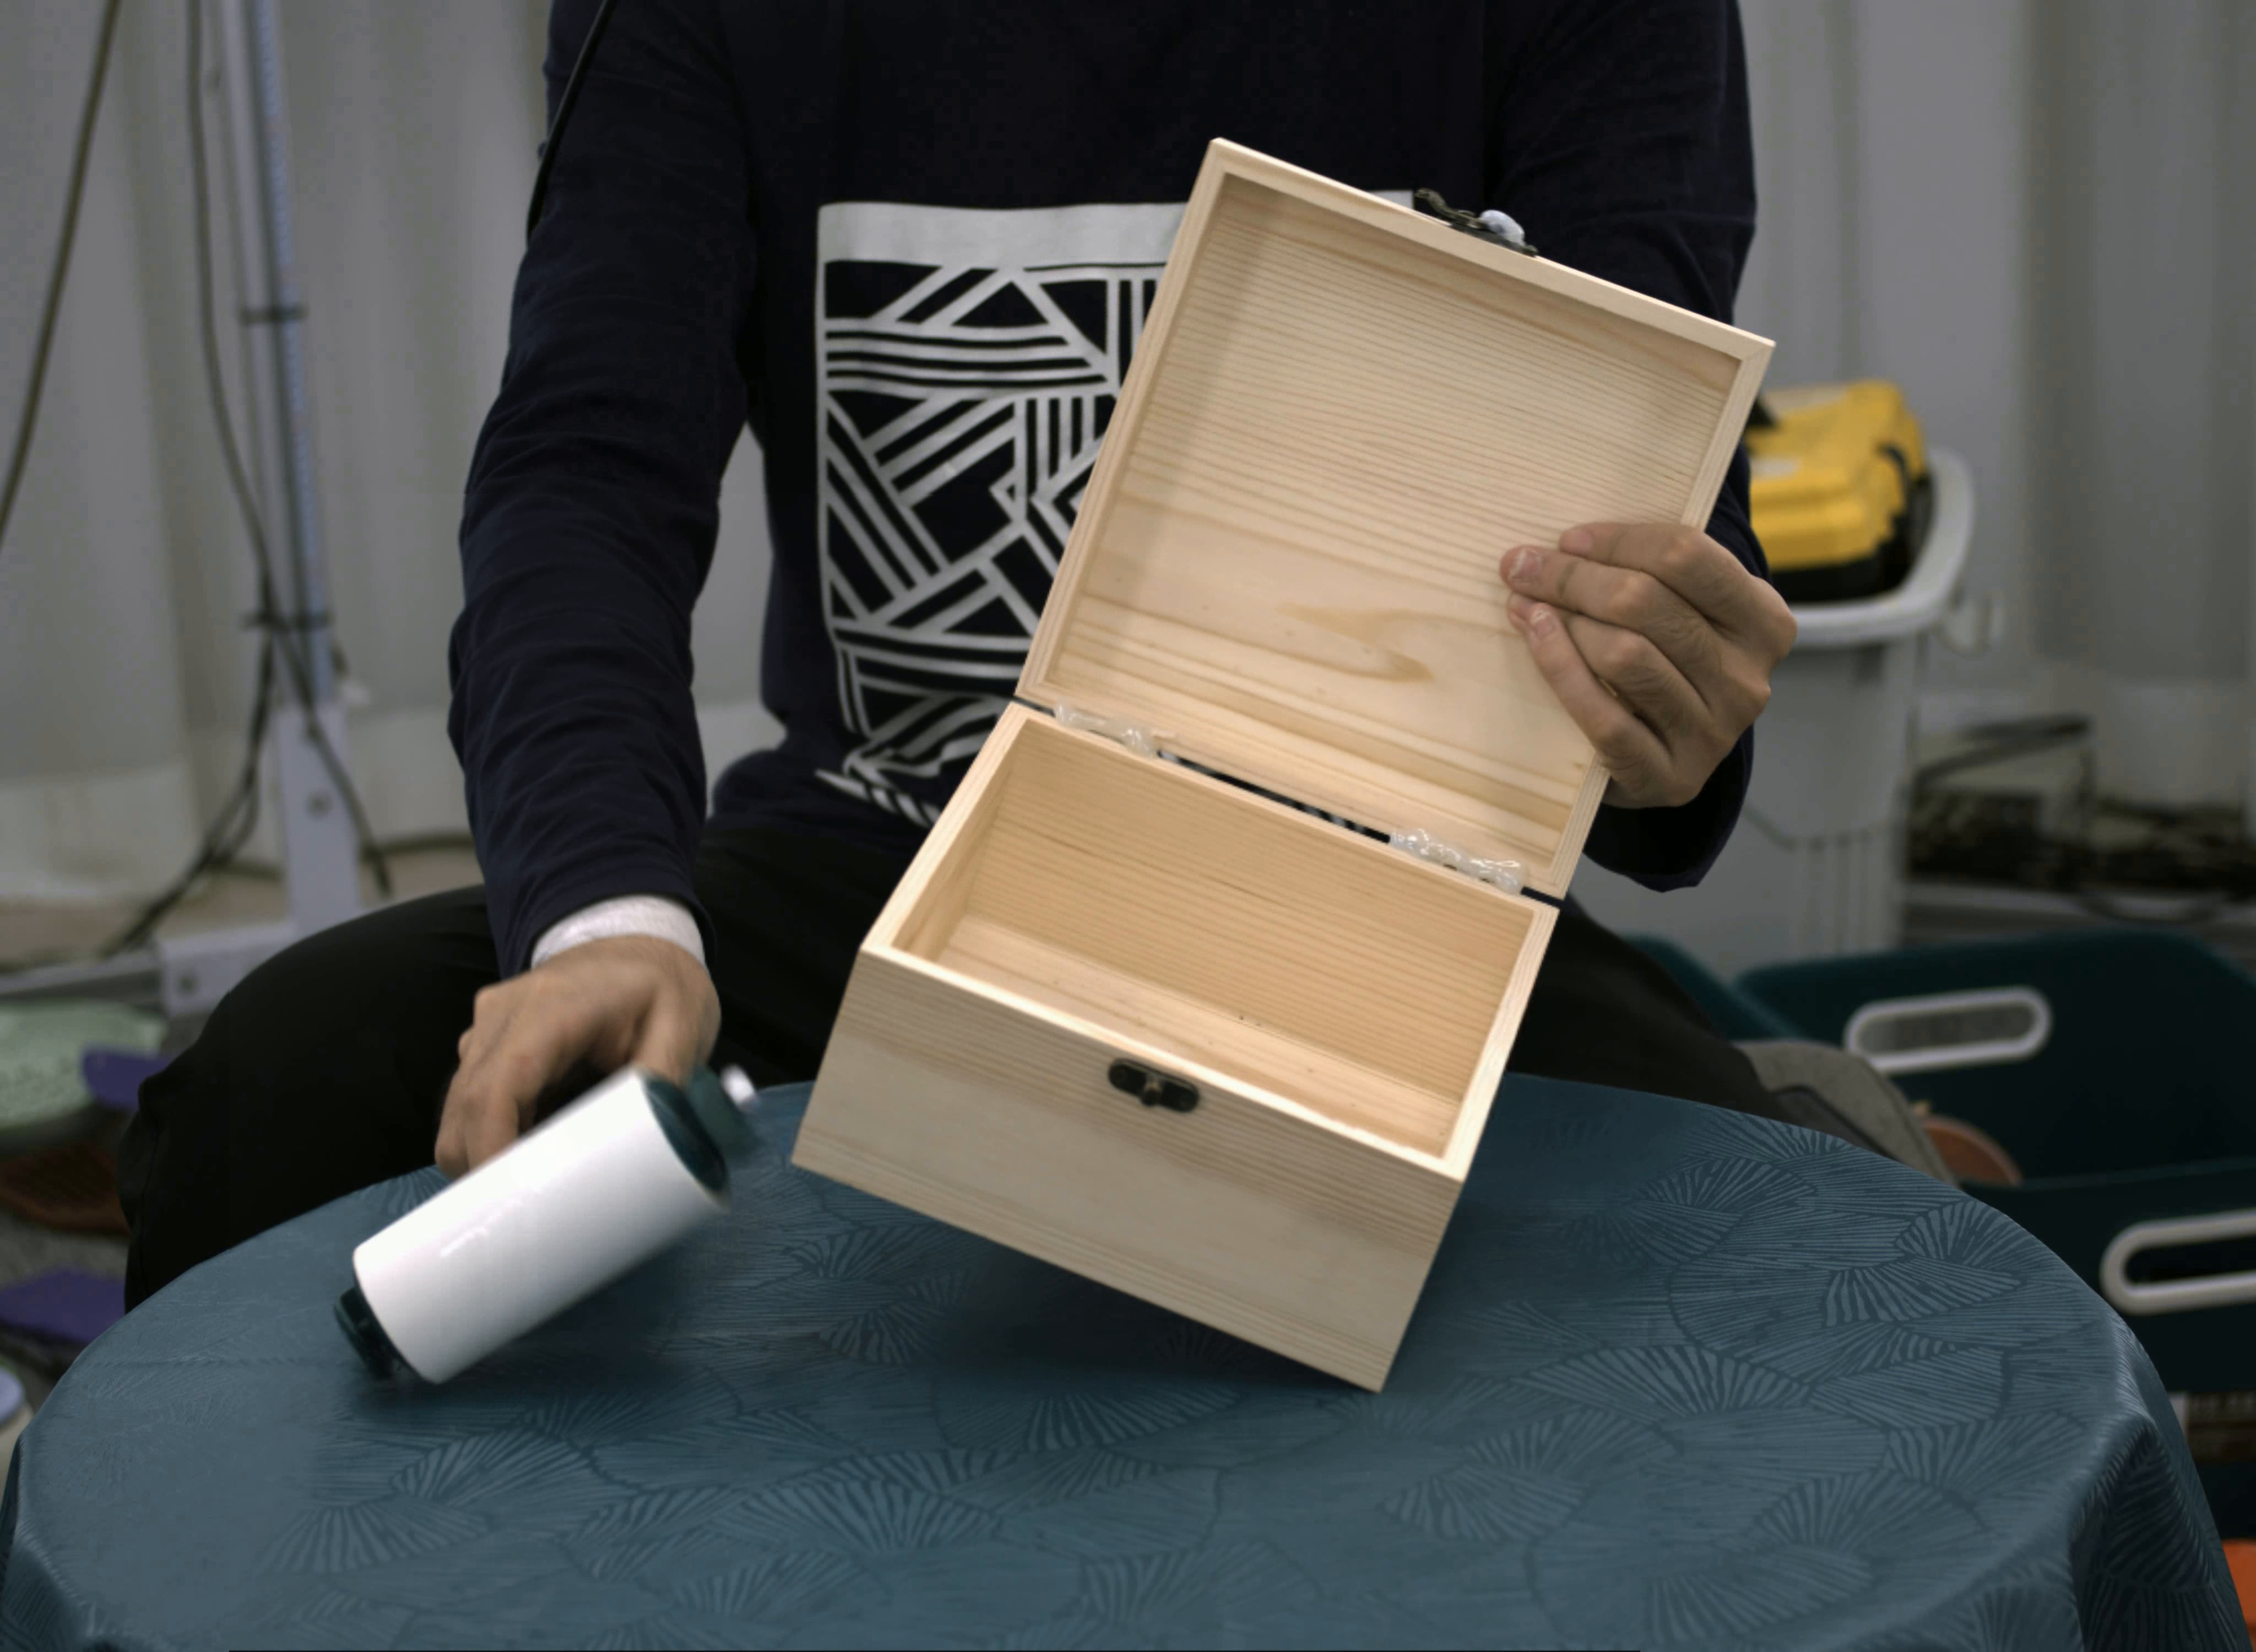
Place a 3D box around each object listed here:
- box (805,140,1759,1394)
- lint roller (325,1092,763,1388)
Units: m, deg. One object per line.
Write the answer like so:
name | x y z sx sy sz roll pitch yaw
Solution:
box | 0.050 -0.026 1.599 0.181 0.251 0.267 19 26 4
lint roller | -0.171 0.101 1.633 0.134 0.048 0.181 -27 16 4
